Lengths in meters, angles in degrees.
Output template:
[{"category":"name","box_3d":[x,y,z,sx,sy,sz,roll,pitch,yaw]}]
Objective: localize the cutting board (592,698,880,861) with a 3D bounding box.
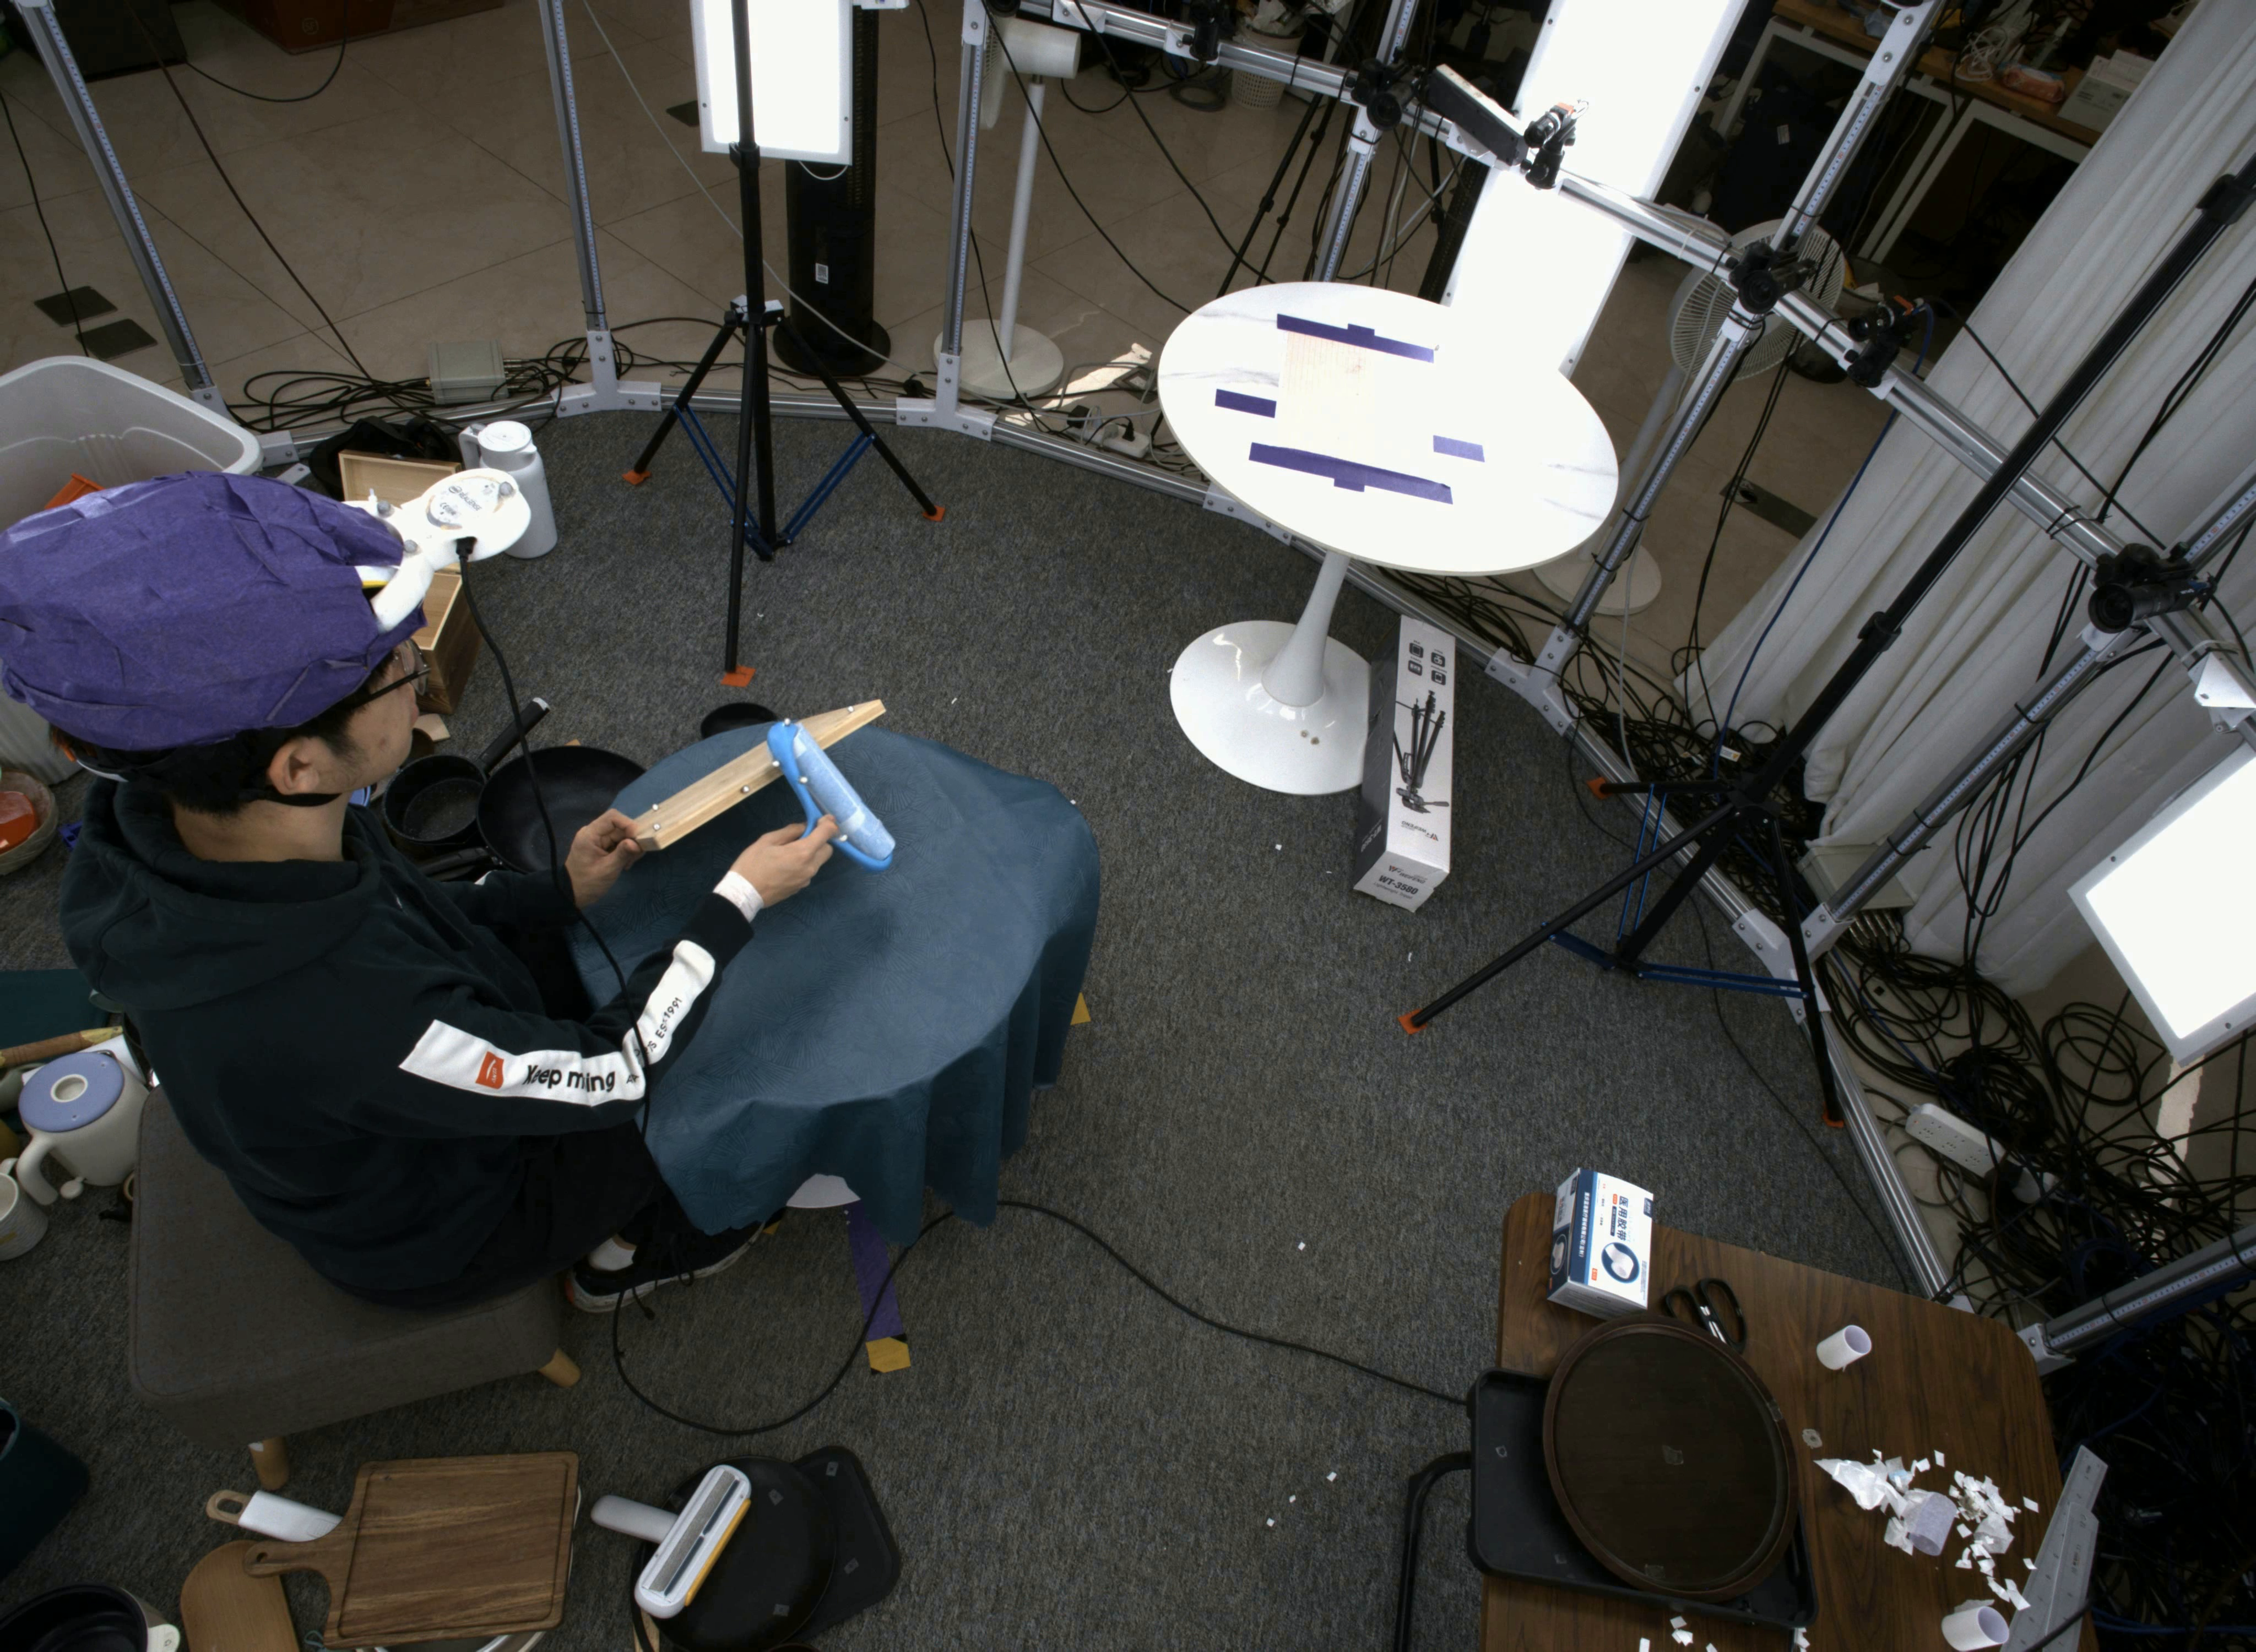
[{"category":"cutting board","box_3d":[-0.498,-0.060,1.633,0.349,0.243,0.024,-38,110,-35]}]

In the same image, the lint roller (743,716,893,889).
[{"category":"lint roller","box_3d":[-0.384,0.004,1.537,0.066,0.238,0.179,-2,46,37]}]
